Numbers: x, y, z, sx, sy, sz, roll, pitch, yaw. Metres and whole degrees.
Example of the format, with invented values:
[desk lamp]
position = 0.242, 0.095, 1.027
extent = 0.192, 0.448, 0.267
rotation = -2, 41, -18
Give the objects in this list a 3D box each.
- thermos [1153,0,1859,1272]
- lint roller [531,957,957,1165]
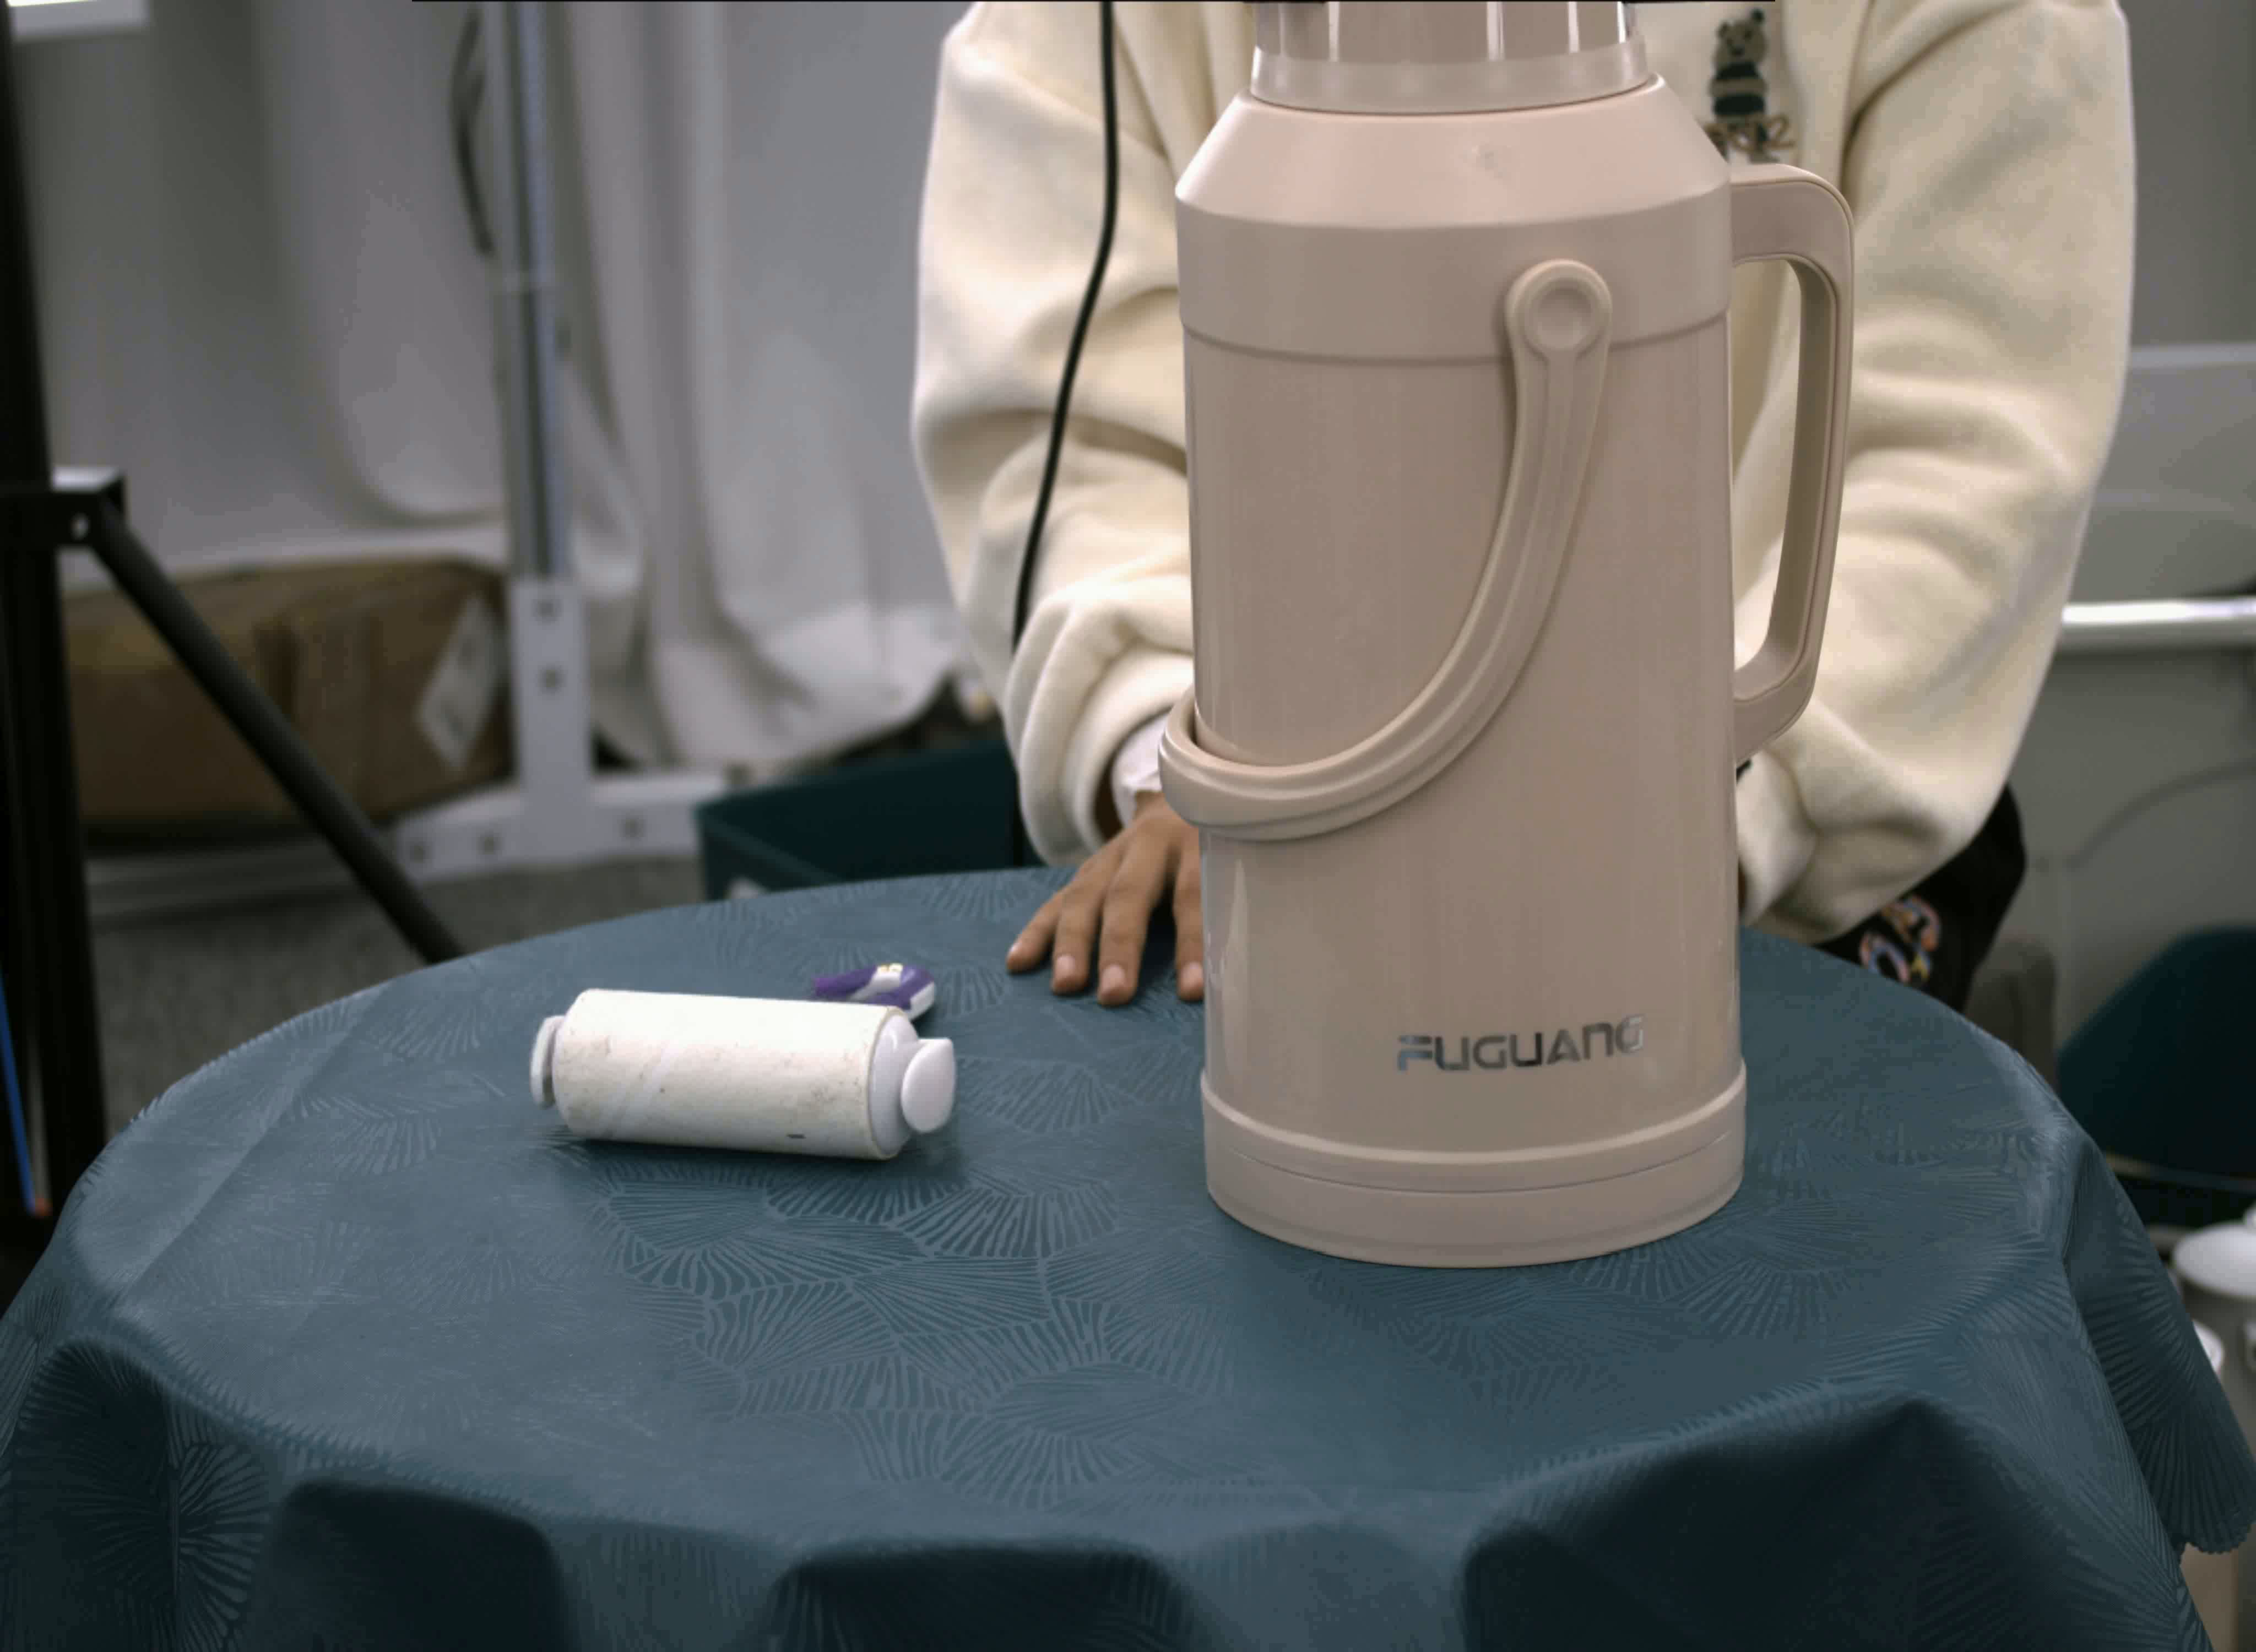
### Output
[thermos]
position = 0.108, -0.088, 1.508
extent = 0.204, 0.406, 0.178
rotation = -6, 15, -14
[lint roller]
position = -0.097, 0.057, 1.667
extent = 0.134, 0.050, 0.179
rotation = 2, 19, 20
